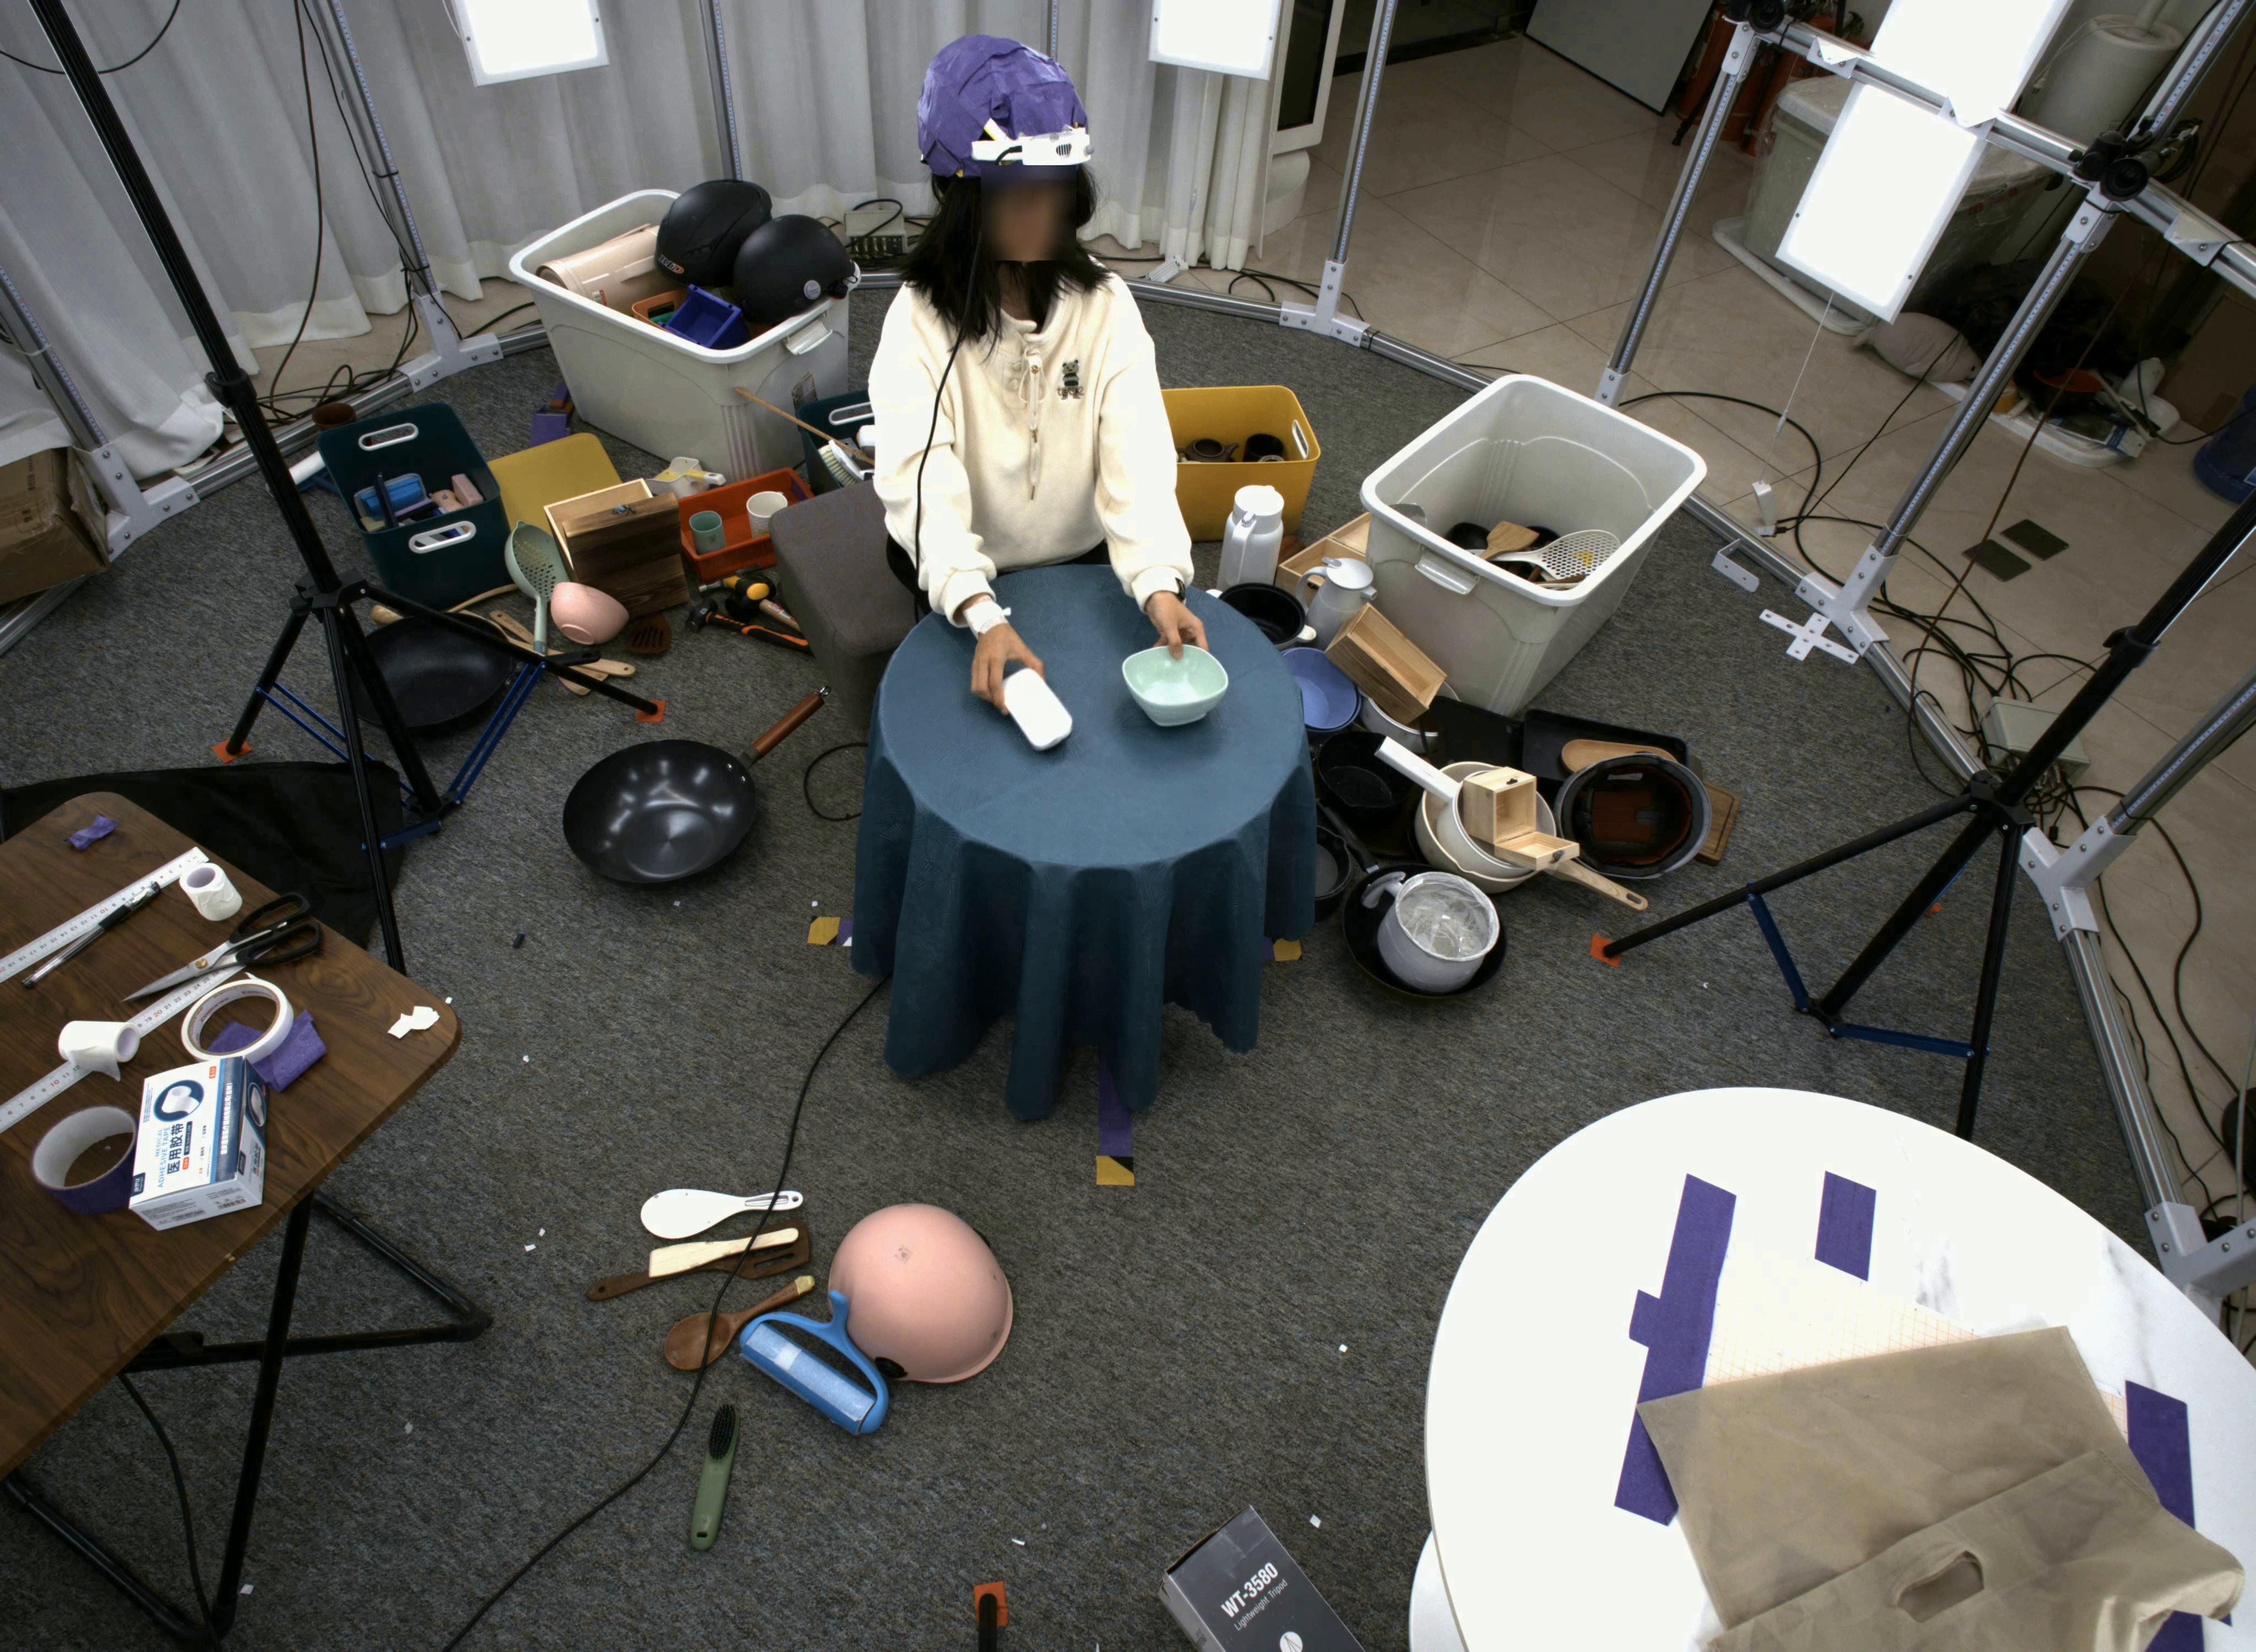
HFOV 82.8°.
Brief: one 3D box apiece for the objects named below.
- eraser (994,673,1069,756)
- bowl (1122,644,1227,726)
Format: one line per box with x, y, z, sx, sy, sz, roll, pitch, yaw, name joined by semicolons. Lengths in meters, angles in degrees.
-0.132;-0.157;1.767;0.063;0.034;0.134;-27;57;-11;eraser
0.062;-0.190;1.793;0.151;0.057;0.155;4;43;-4;bowl
